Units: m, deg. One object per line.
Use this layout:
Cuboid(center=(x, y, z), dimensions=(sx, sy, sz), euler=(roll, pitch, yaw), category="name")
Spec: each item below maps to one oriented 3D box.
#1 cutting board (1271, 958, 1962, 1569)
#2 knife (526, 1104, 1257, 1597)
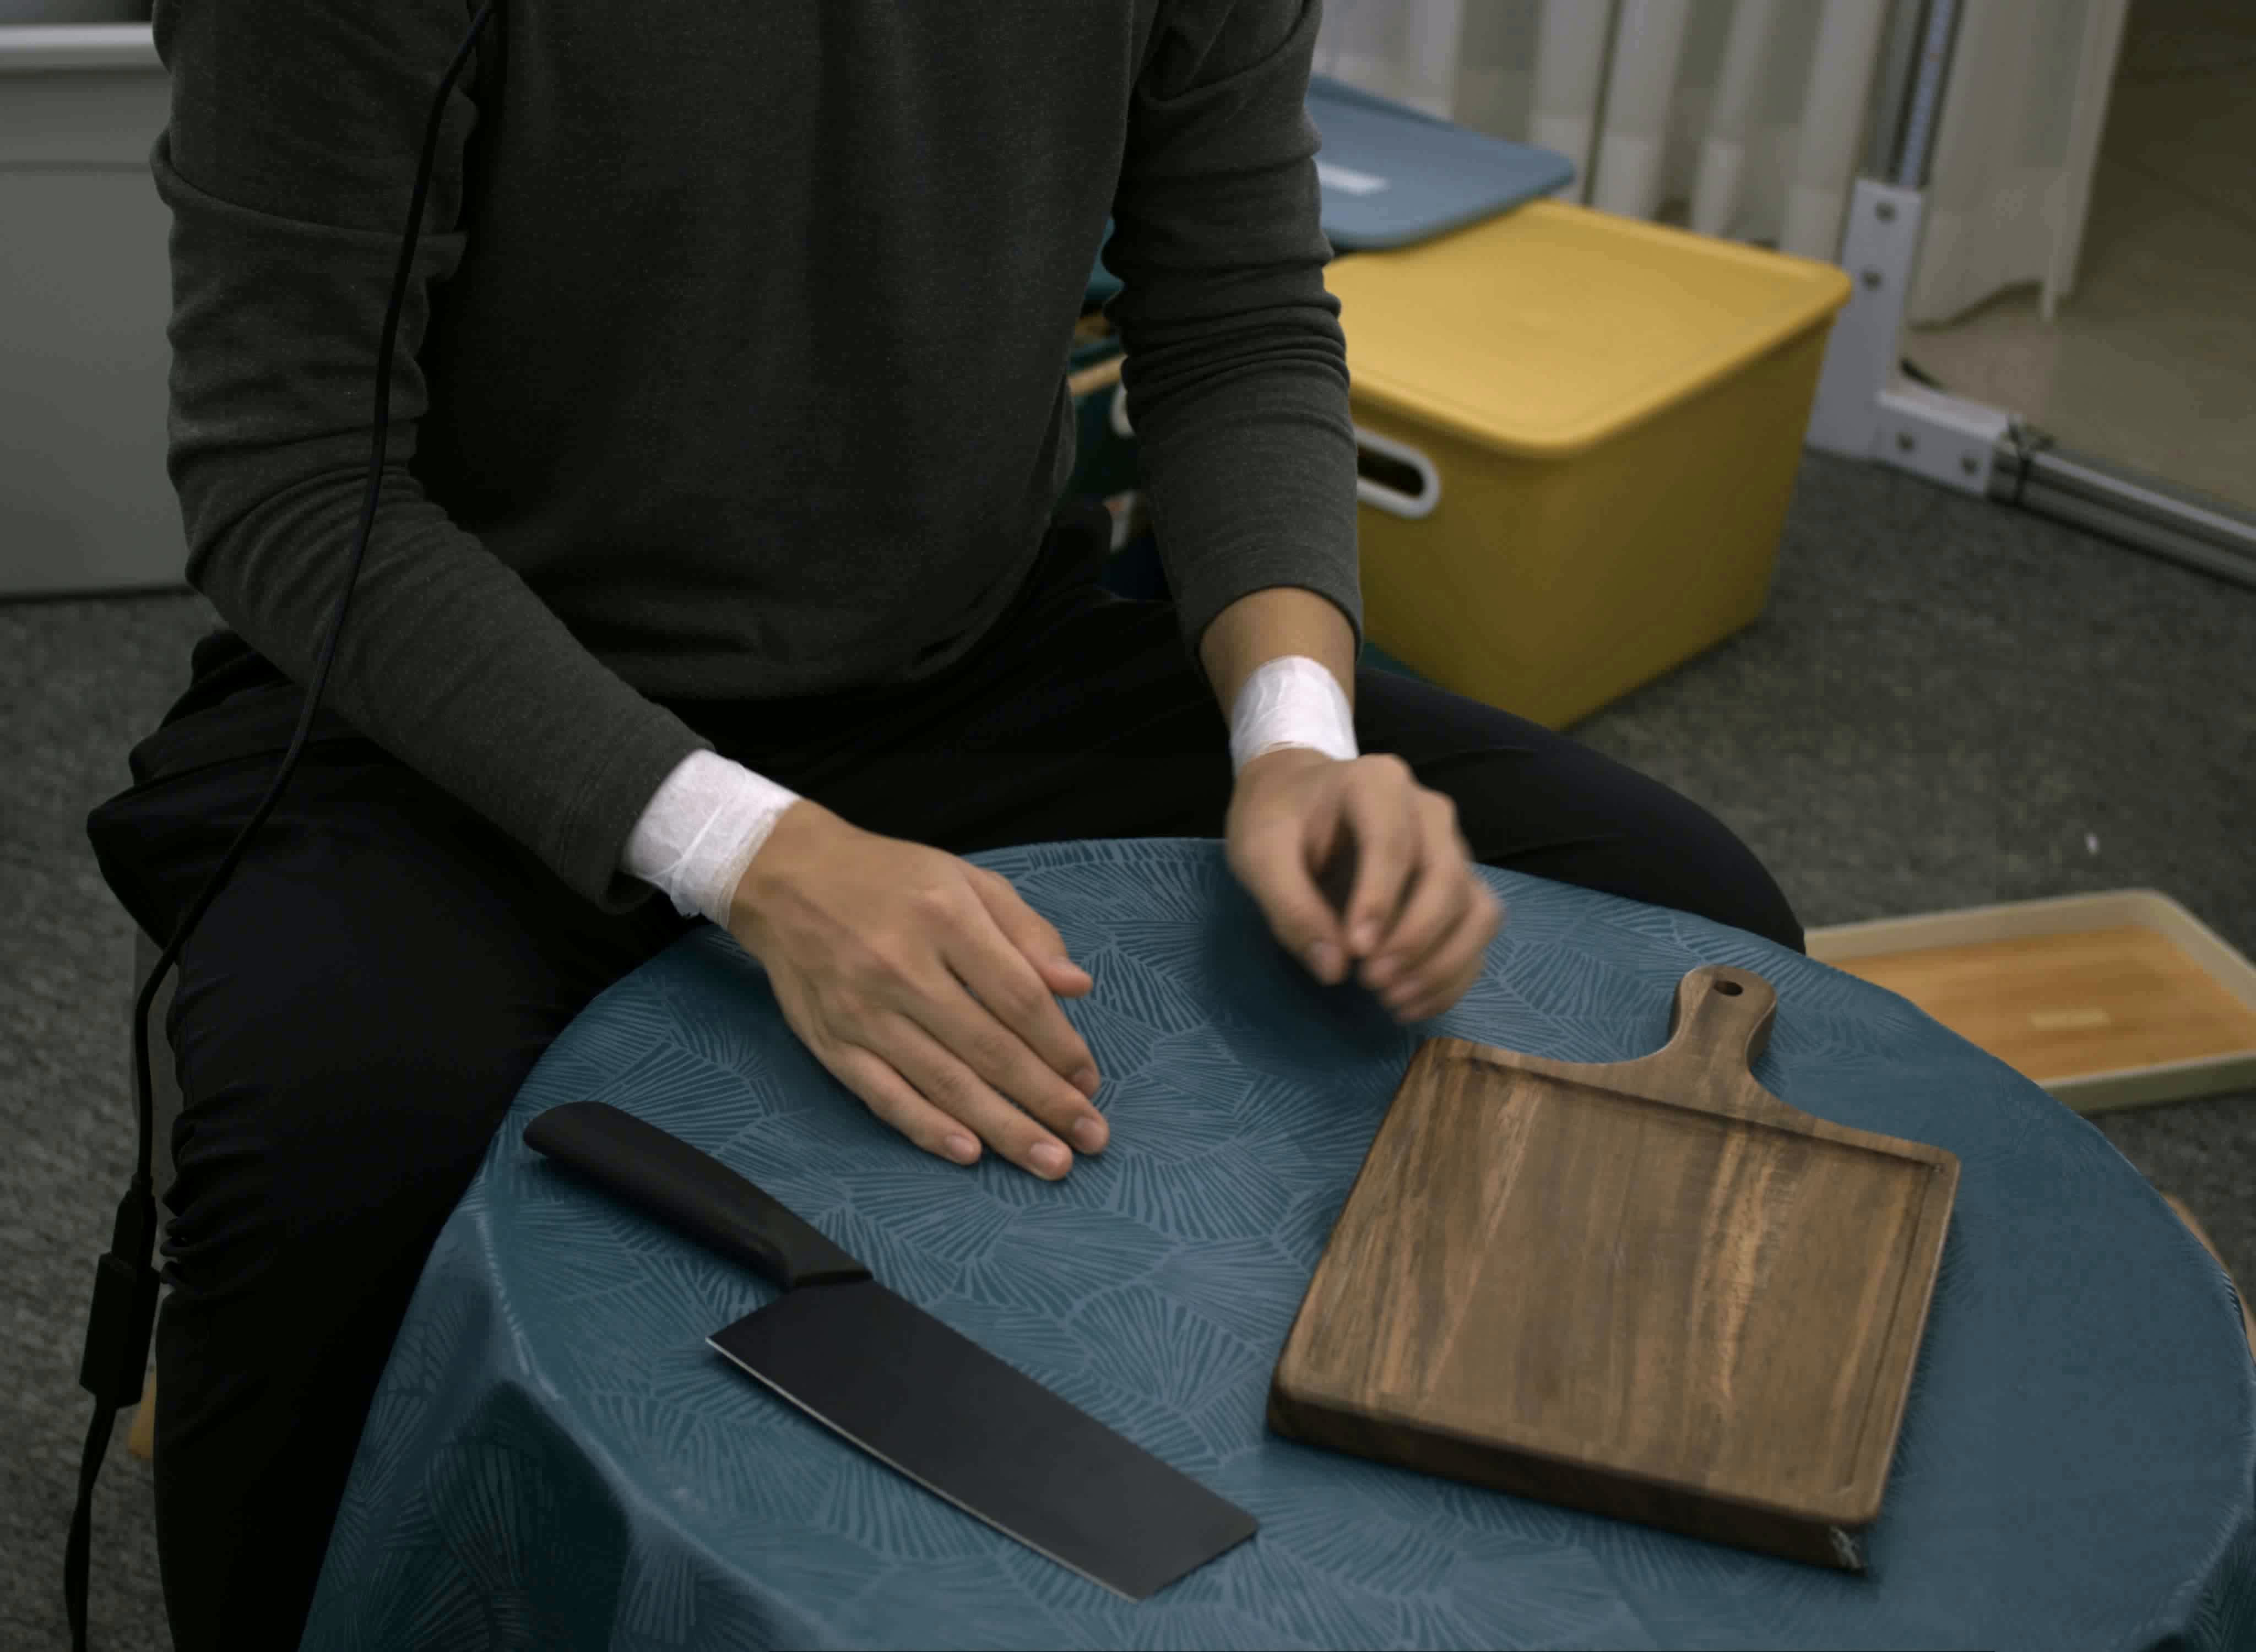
Cuboid(center=(0.179, 0.131, 1.807), dimensions=(0.201, 0.023, 0.353), euler=(12, 27, 10), category="cutting board")
Cuboid(center=(-0.087, 0.163, 1.693), dimensions=(0.080, 0.021, 0.305), euler=(-20, 39, -40), category="knife")
